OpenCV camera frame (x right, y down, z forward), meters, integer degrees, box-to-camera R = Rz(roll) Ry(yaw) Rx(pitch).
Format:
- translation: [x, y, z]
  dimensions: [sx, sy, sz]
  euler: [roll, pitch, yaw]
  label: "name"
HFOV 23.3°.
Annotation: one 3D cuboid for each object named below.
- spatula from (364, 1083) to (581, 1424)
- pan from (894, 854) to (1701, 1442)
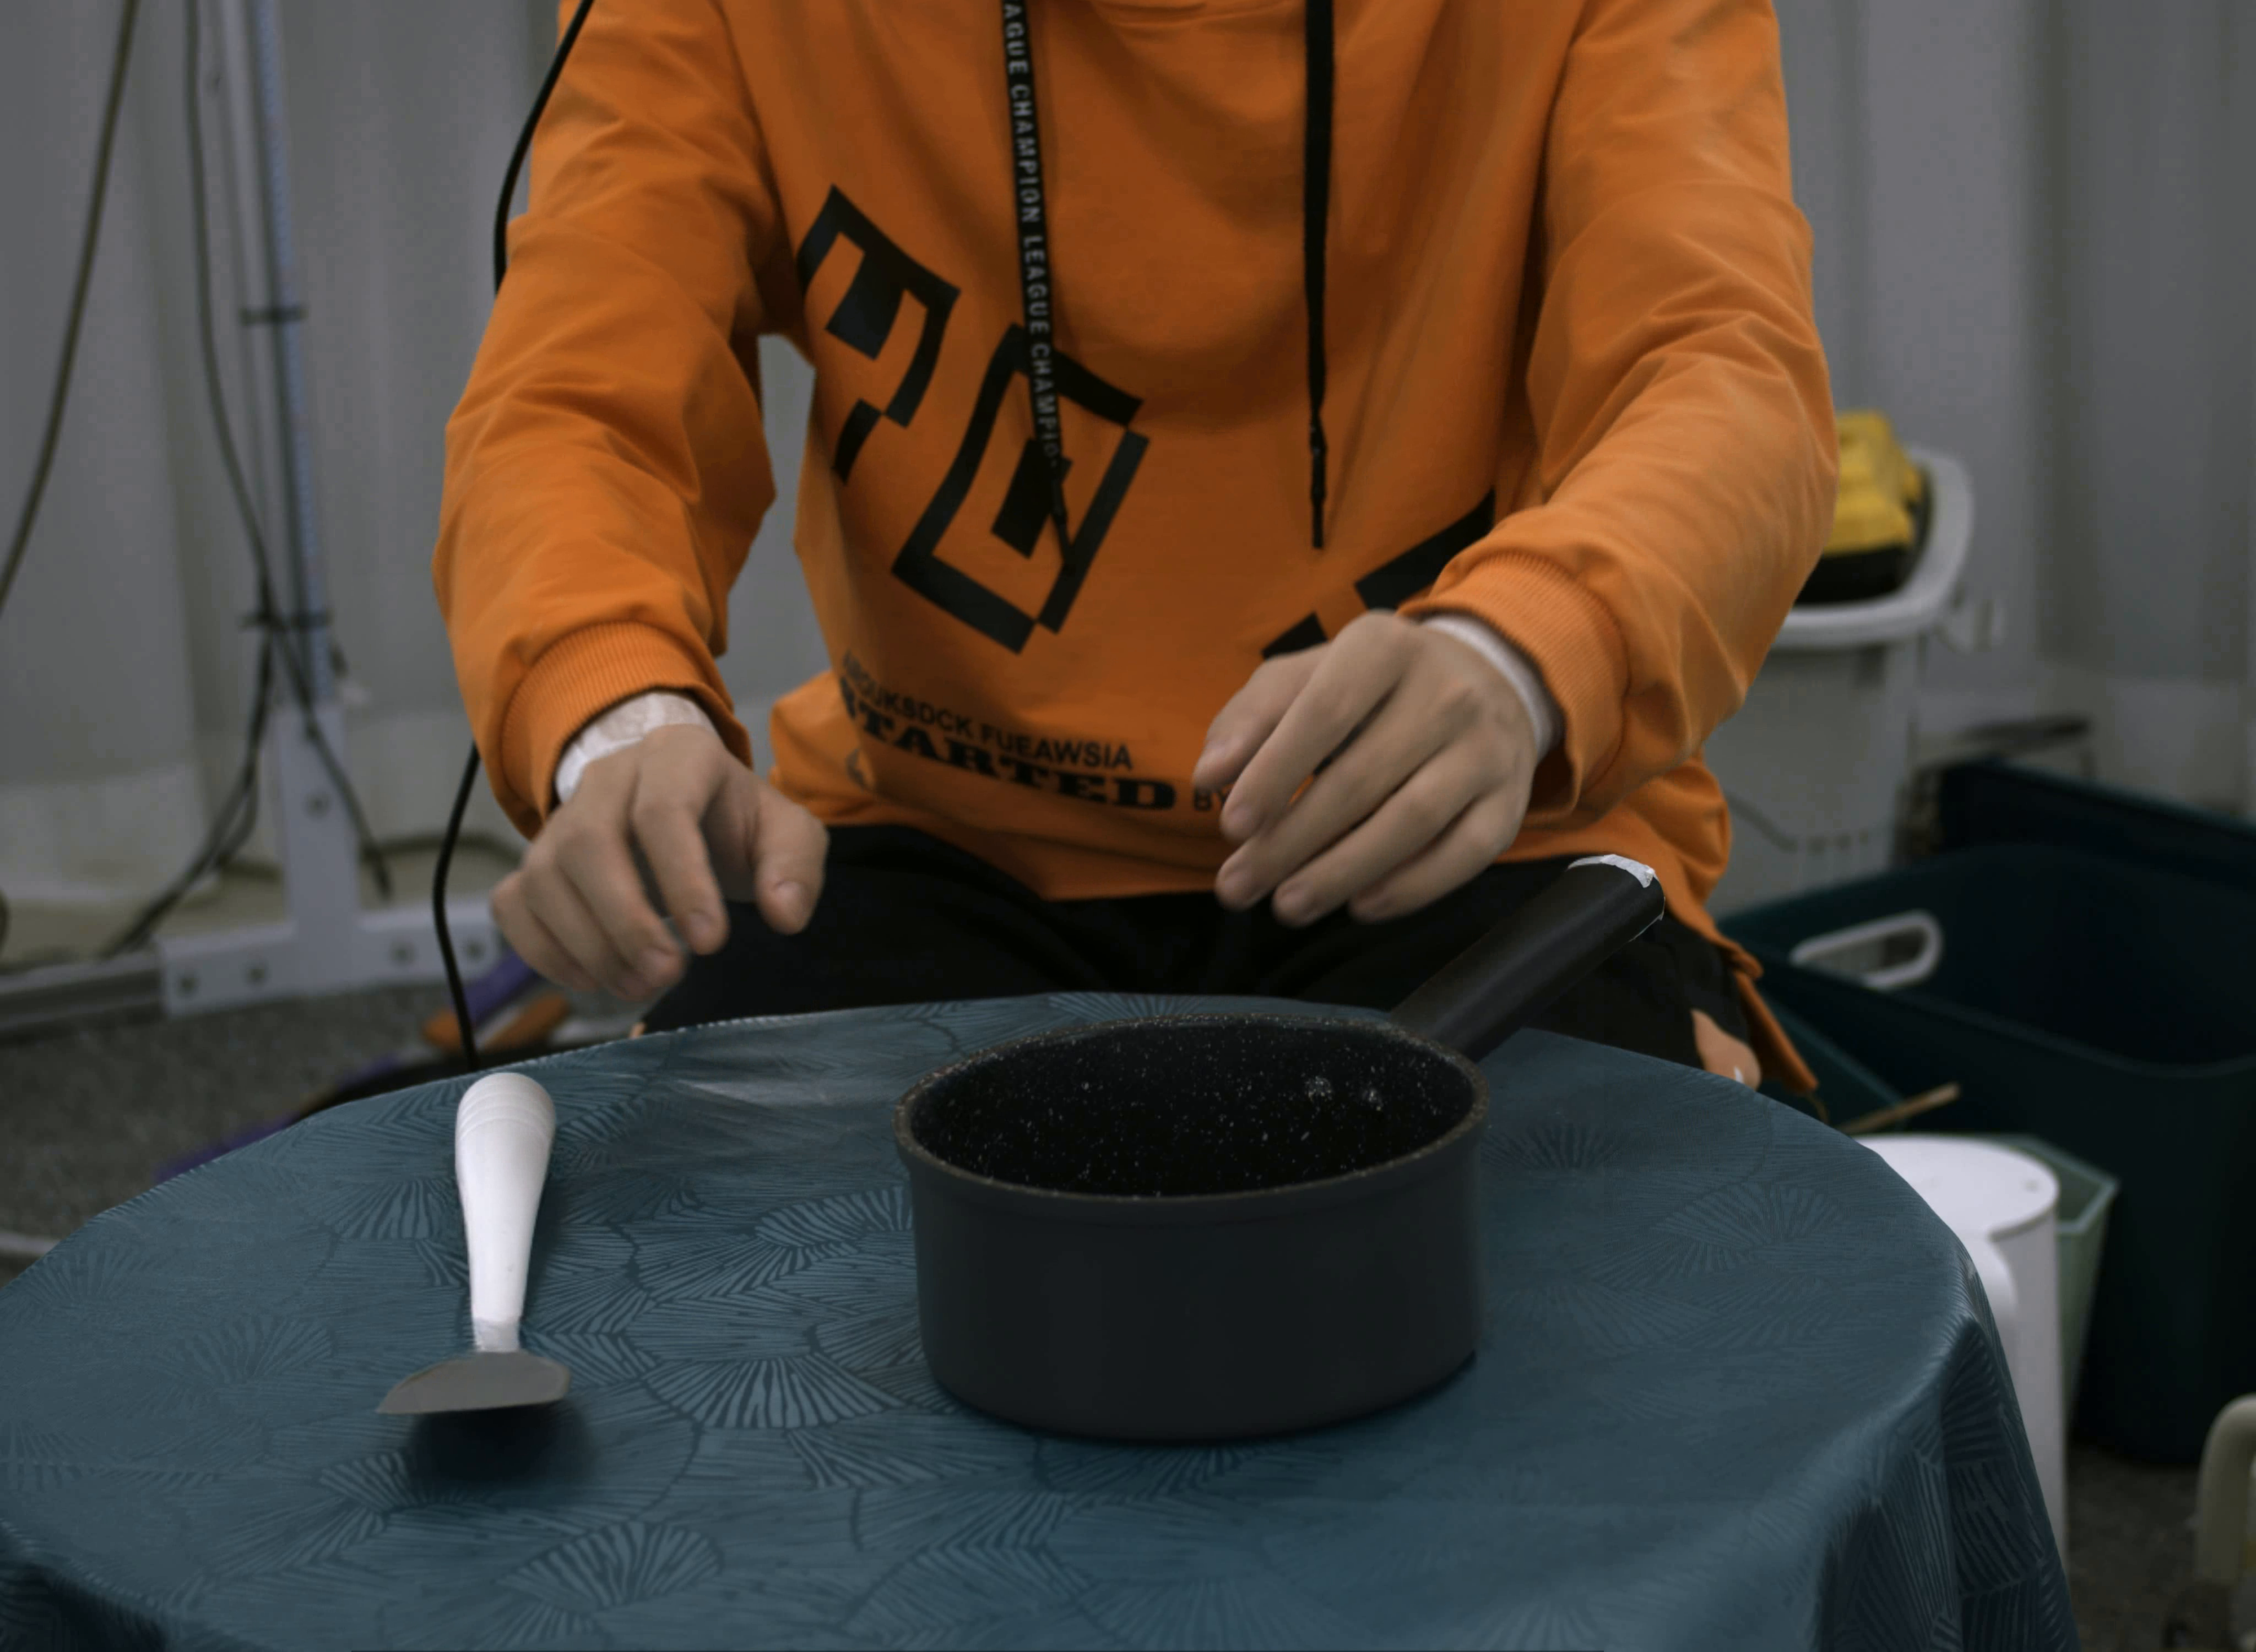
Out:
- translation: [-0.190, 0.133, 1.625]
  dimensions: [0.058, 0.032, 0.289]
  euler: [-1, 14, -4]
  label: "spatula"
- translation: [0.069, 0.092, 1.625]
  dimensions: [0.173, 0.086, 0.329]
  euler: [9, 21, 37]
  label: "pan"
